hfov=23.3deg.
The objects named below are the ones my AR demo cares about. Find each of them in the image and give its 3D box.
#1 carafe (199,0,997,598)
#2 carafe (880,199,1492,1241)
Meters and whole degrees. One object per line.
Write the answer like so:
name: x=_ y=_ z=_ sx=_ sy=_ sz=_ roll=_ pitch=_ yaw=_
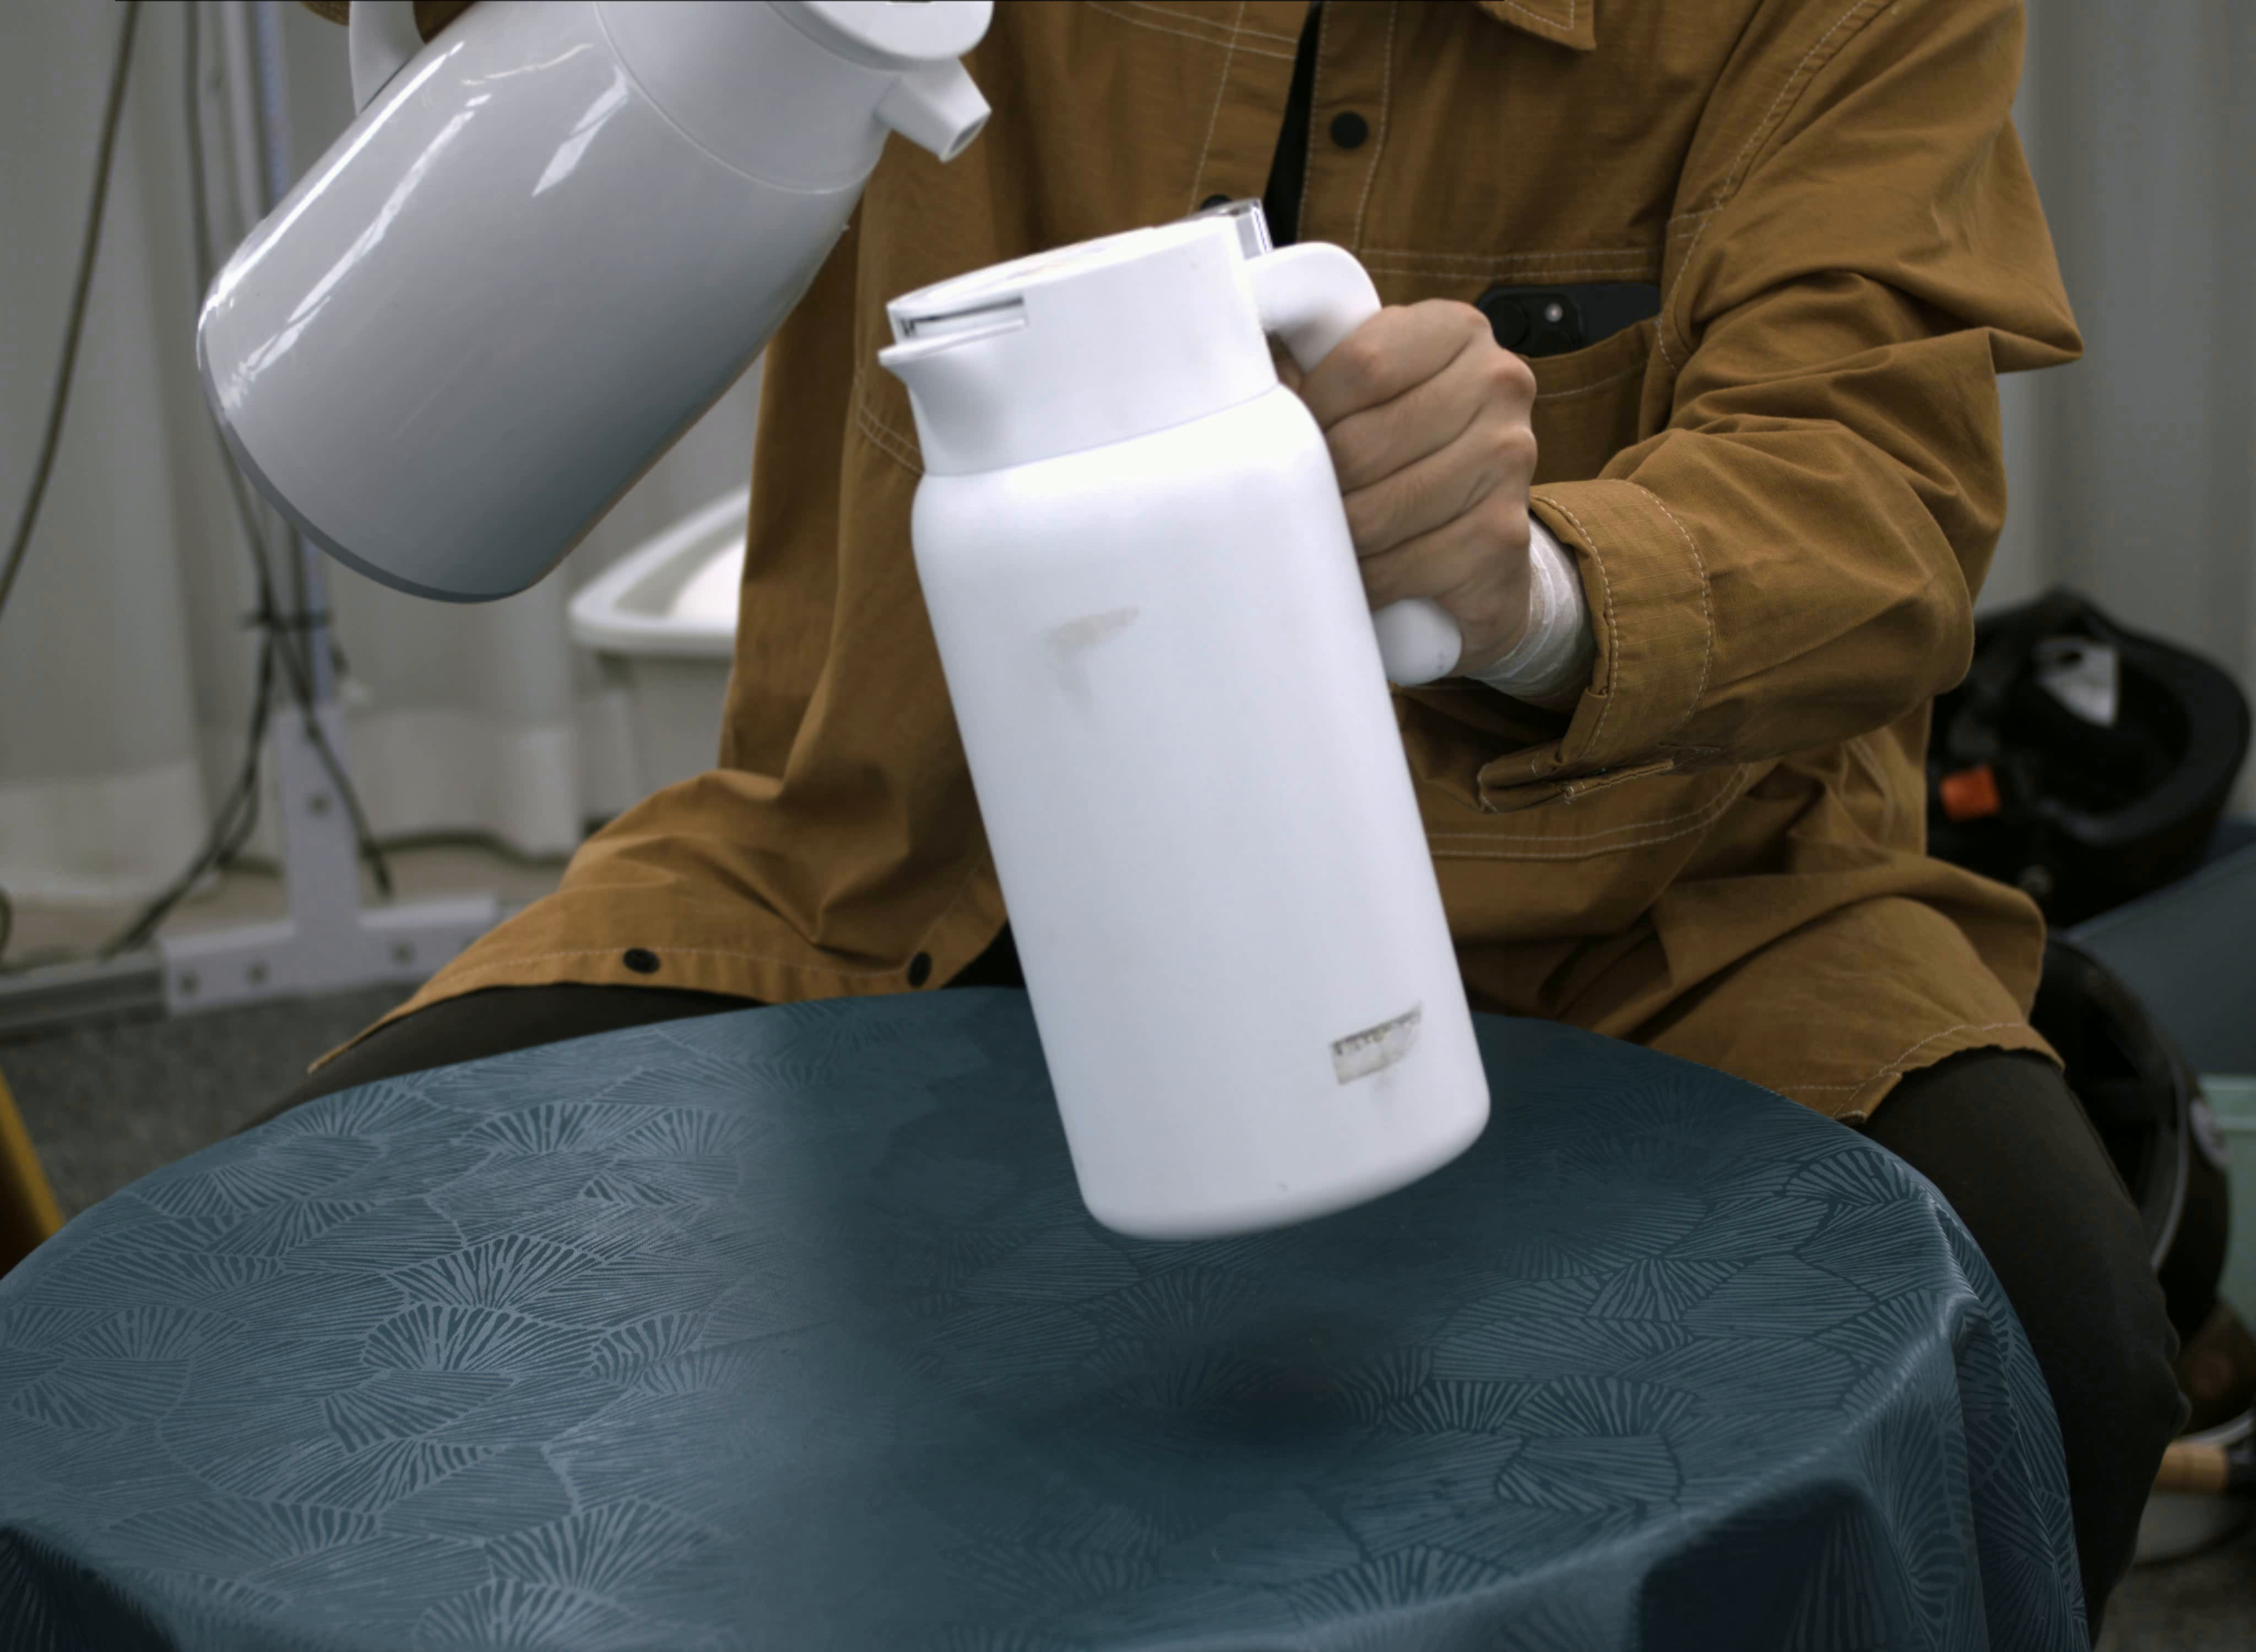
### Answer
carafe: x=-0.156 y=-0.200 z=1.550 sx=0.247 sy=0.168 sz=0.133 roll=-41 pitch=1 yaw=36
carafe: x=0.025 y=-0.033 z=1.512 sx=0.173 sy=0.268 sz=0.124 roll=-22 pitch=9 yaw=-42
